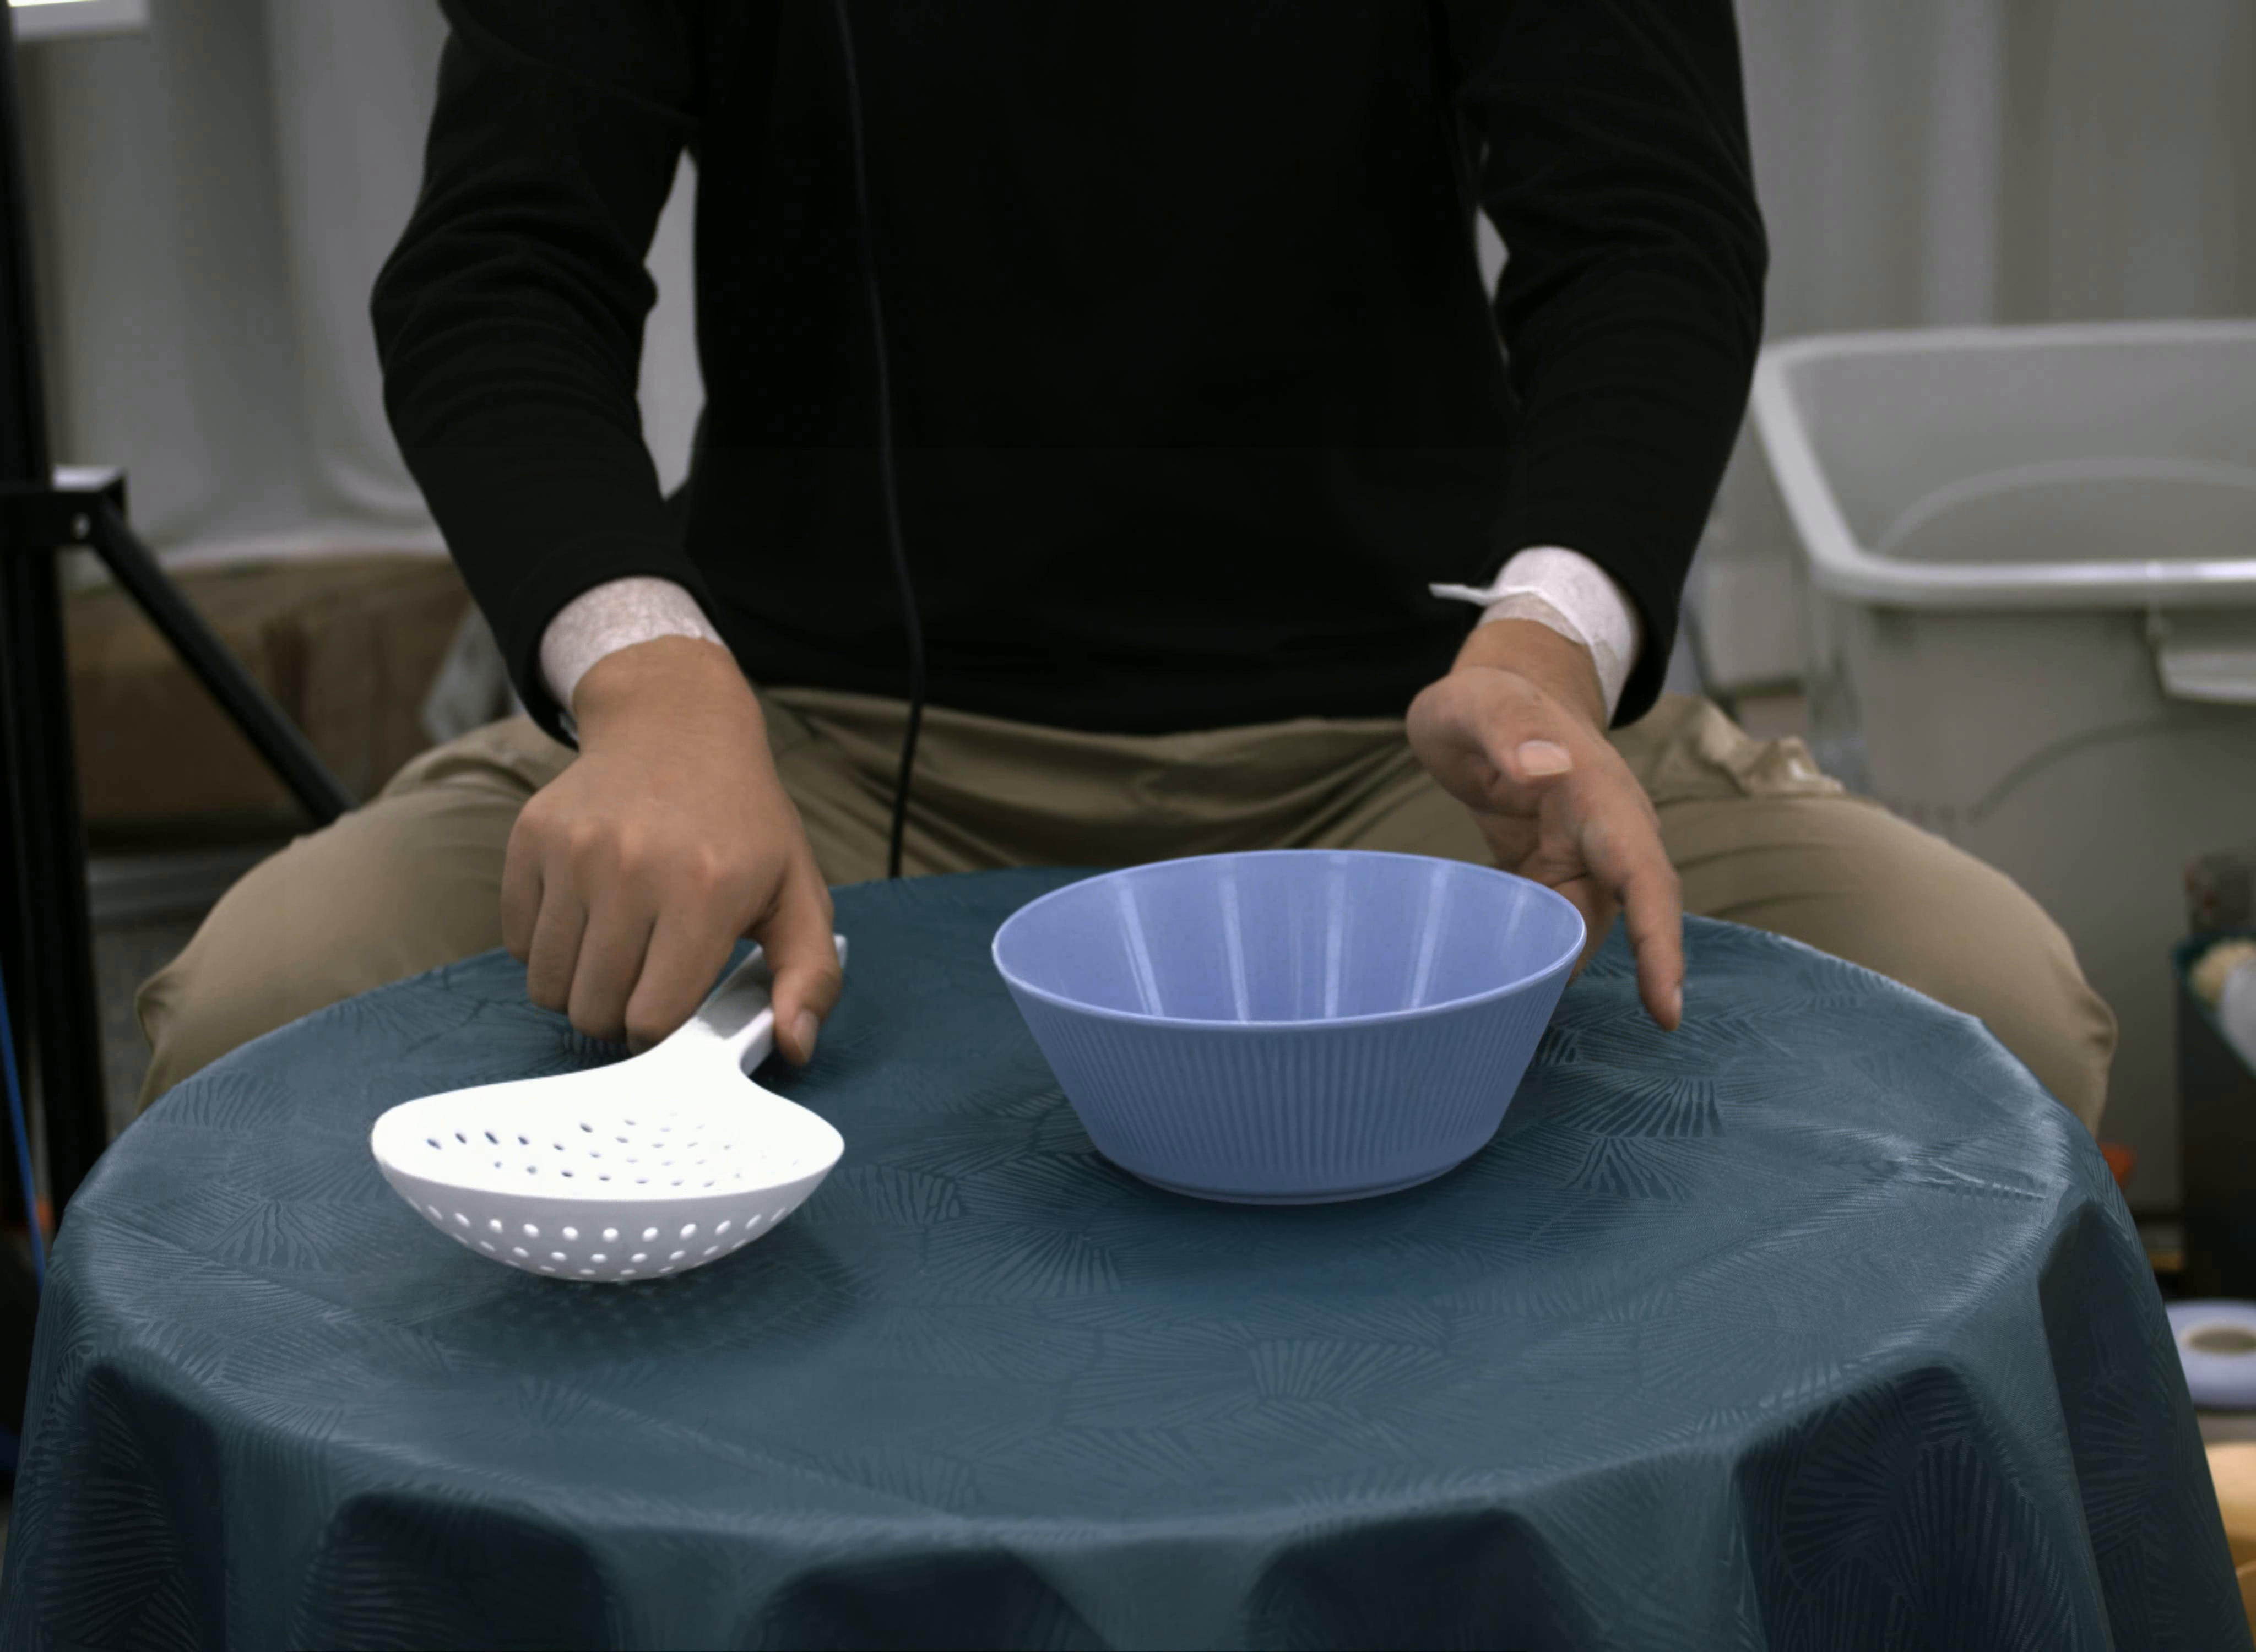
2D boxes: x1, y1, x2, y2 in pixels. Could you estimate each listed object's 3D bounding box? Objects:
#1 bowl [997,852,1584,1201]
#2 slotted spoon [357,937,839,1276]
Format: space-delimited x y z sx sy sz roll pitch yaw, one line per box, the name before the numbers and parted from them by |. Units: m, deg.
bowl | 0.049 0.062 1.582 0.175 0.070 0.177 -2 15 -1
slotted spoon | -0.134 0.075 1.612 0.136 0.046 0.348 2 15 8
